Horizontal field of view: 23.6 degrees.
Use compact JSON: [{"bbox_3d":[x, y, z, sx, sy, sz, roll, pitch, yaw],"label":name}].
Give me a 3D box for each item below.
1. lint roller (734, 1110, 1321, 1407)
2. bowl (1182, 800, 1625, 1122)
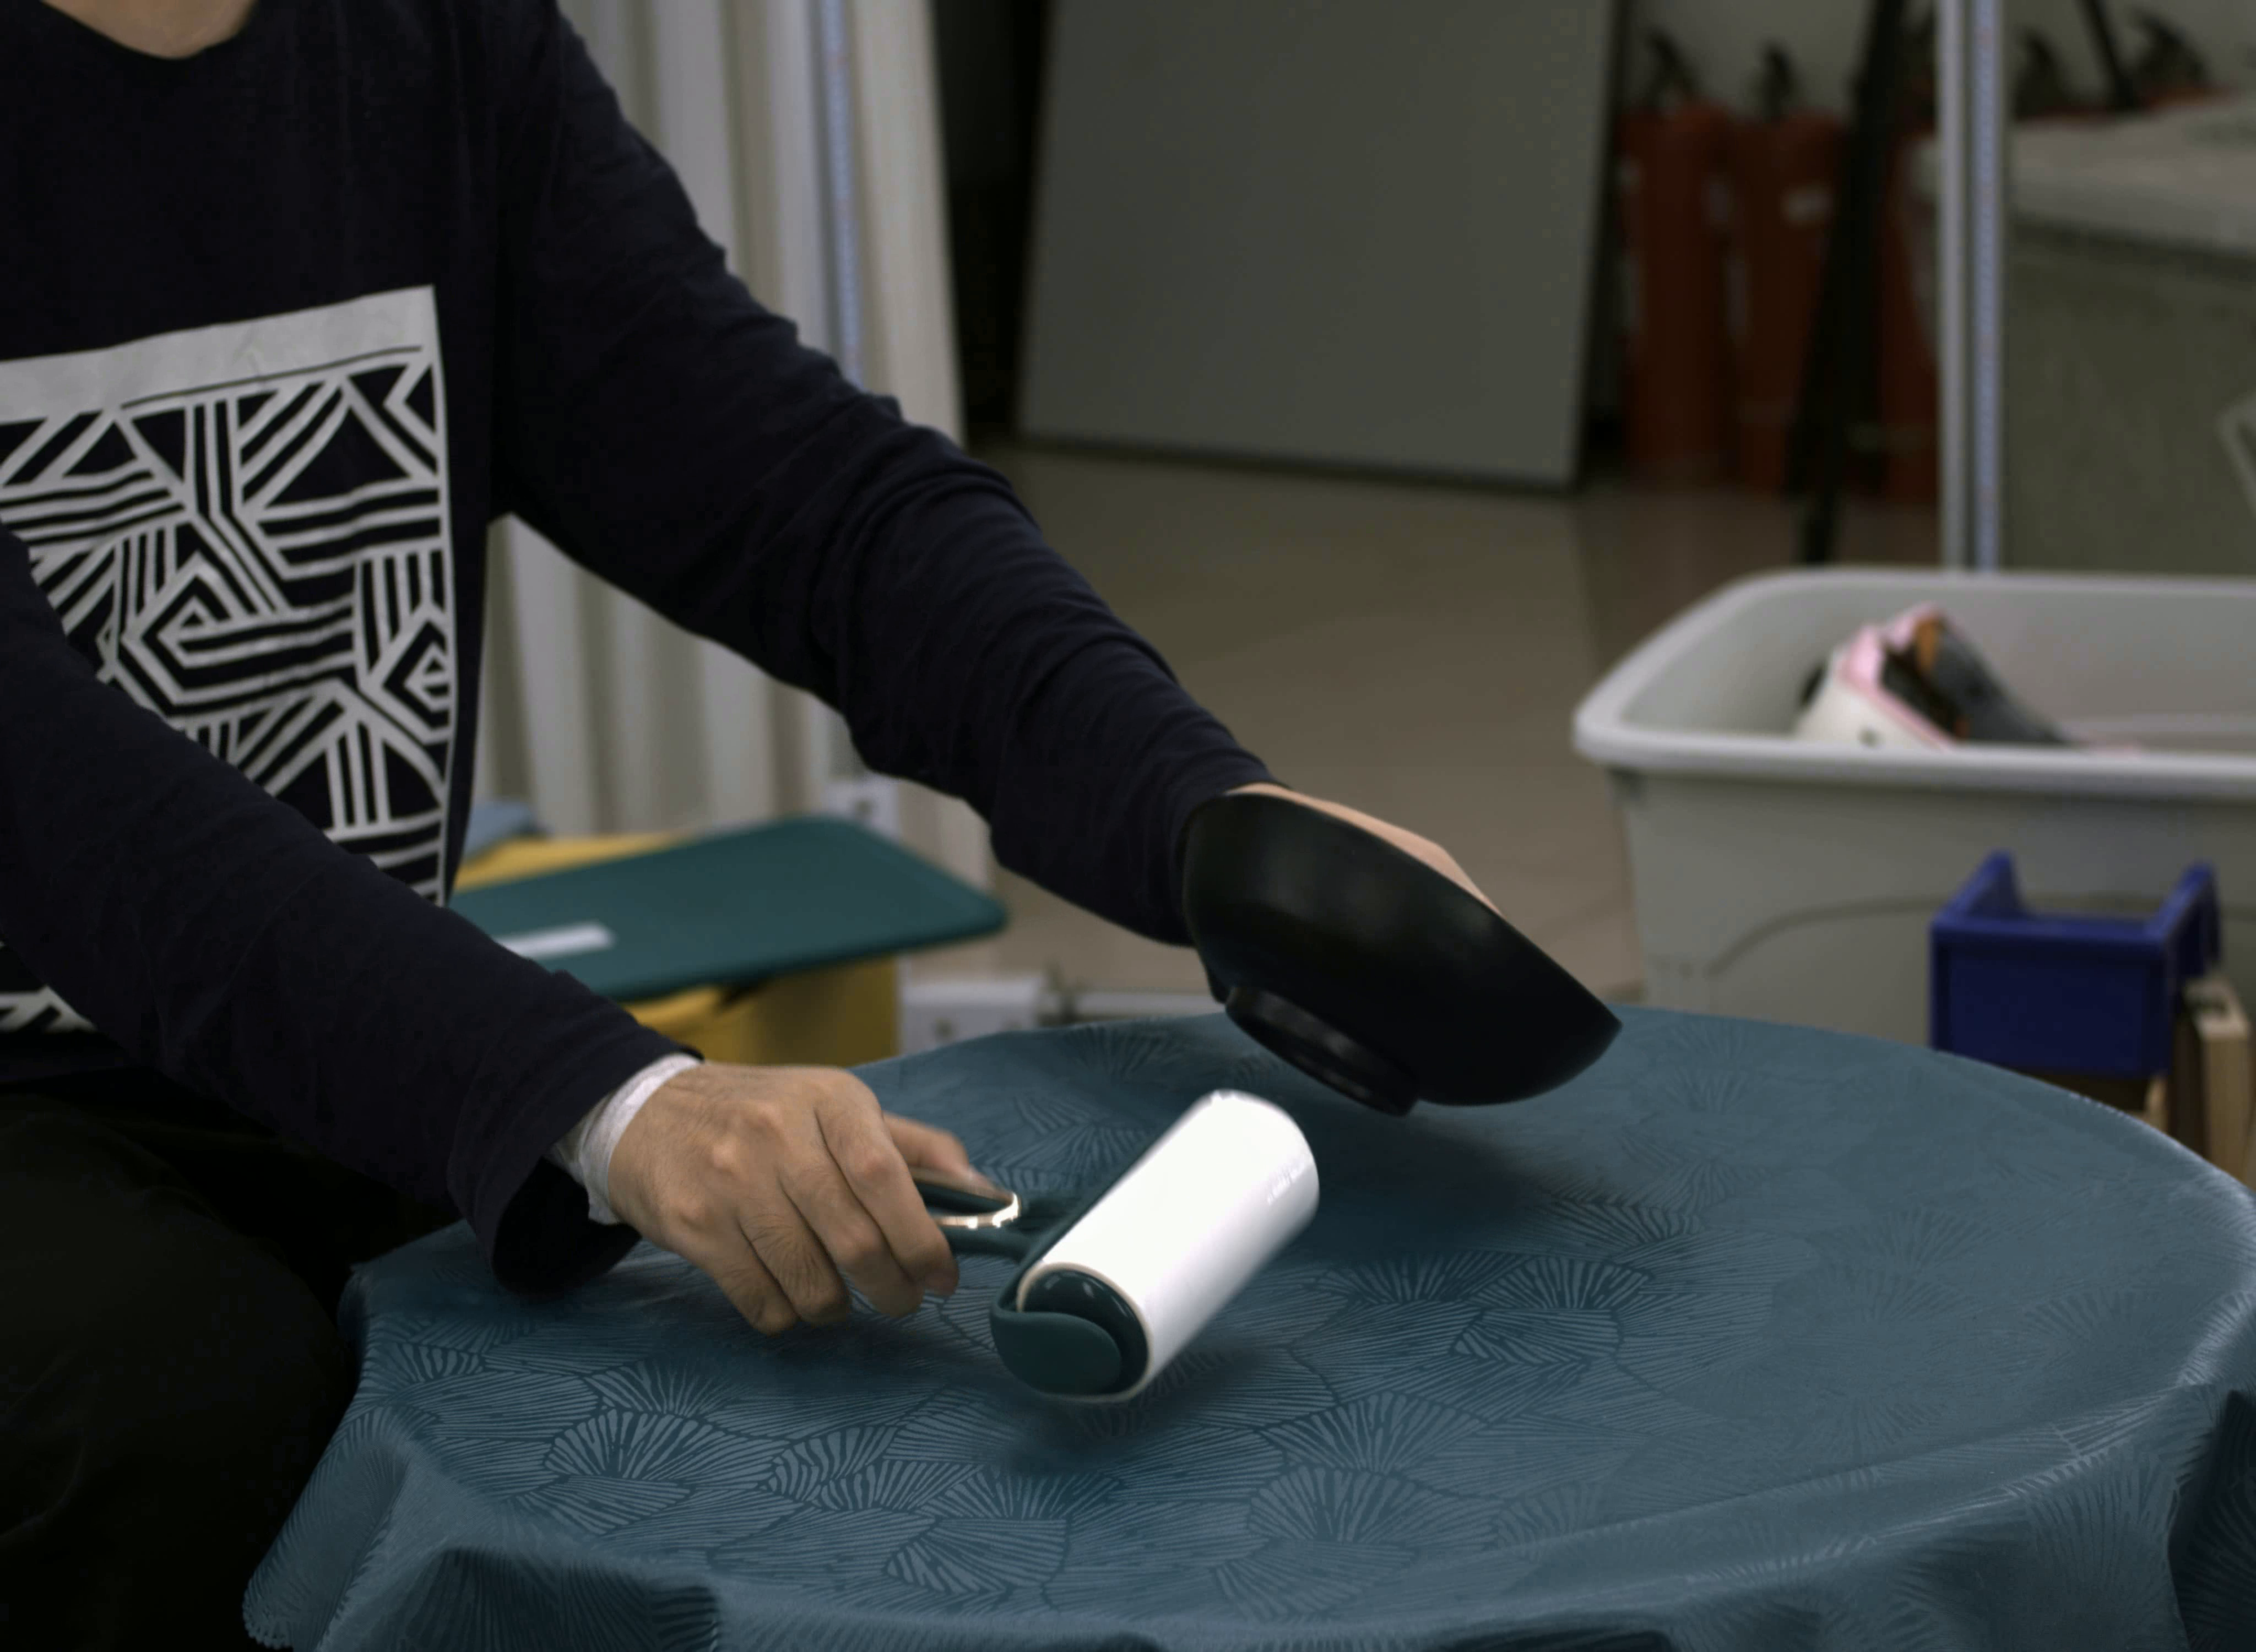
[{"bbox_3d":[-0.044,0.118,1.609,0.181,0.049,0.132,8,28,31],"label":"lint roller"},{"bbox_3d":[0.077,0.051,1.735,0.172,0.067,0.135,21,-14,43],"label":"bowl"}]
